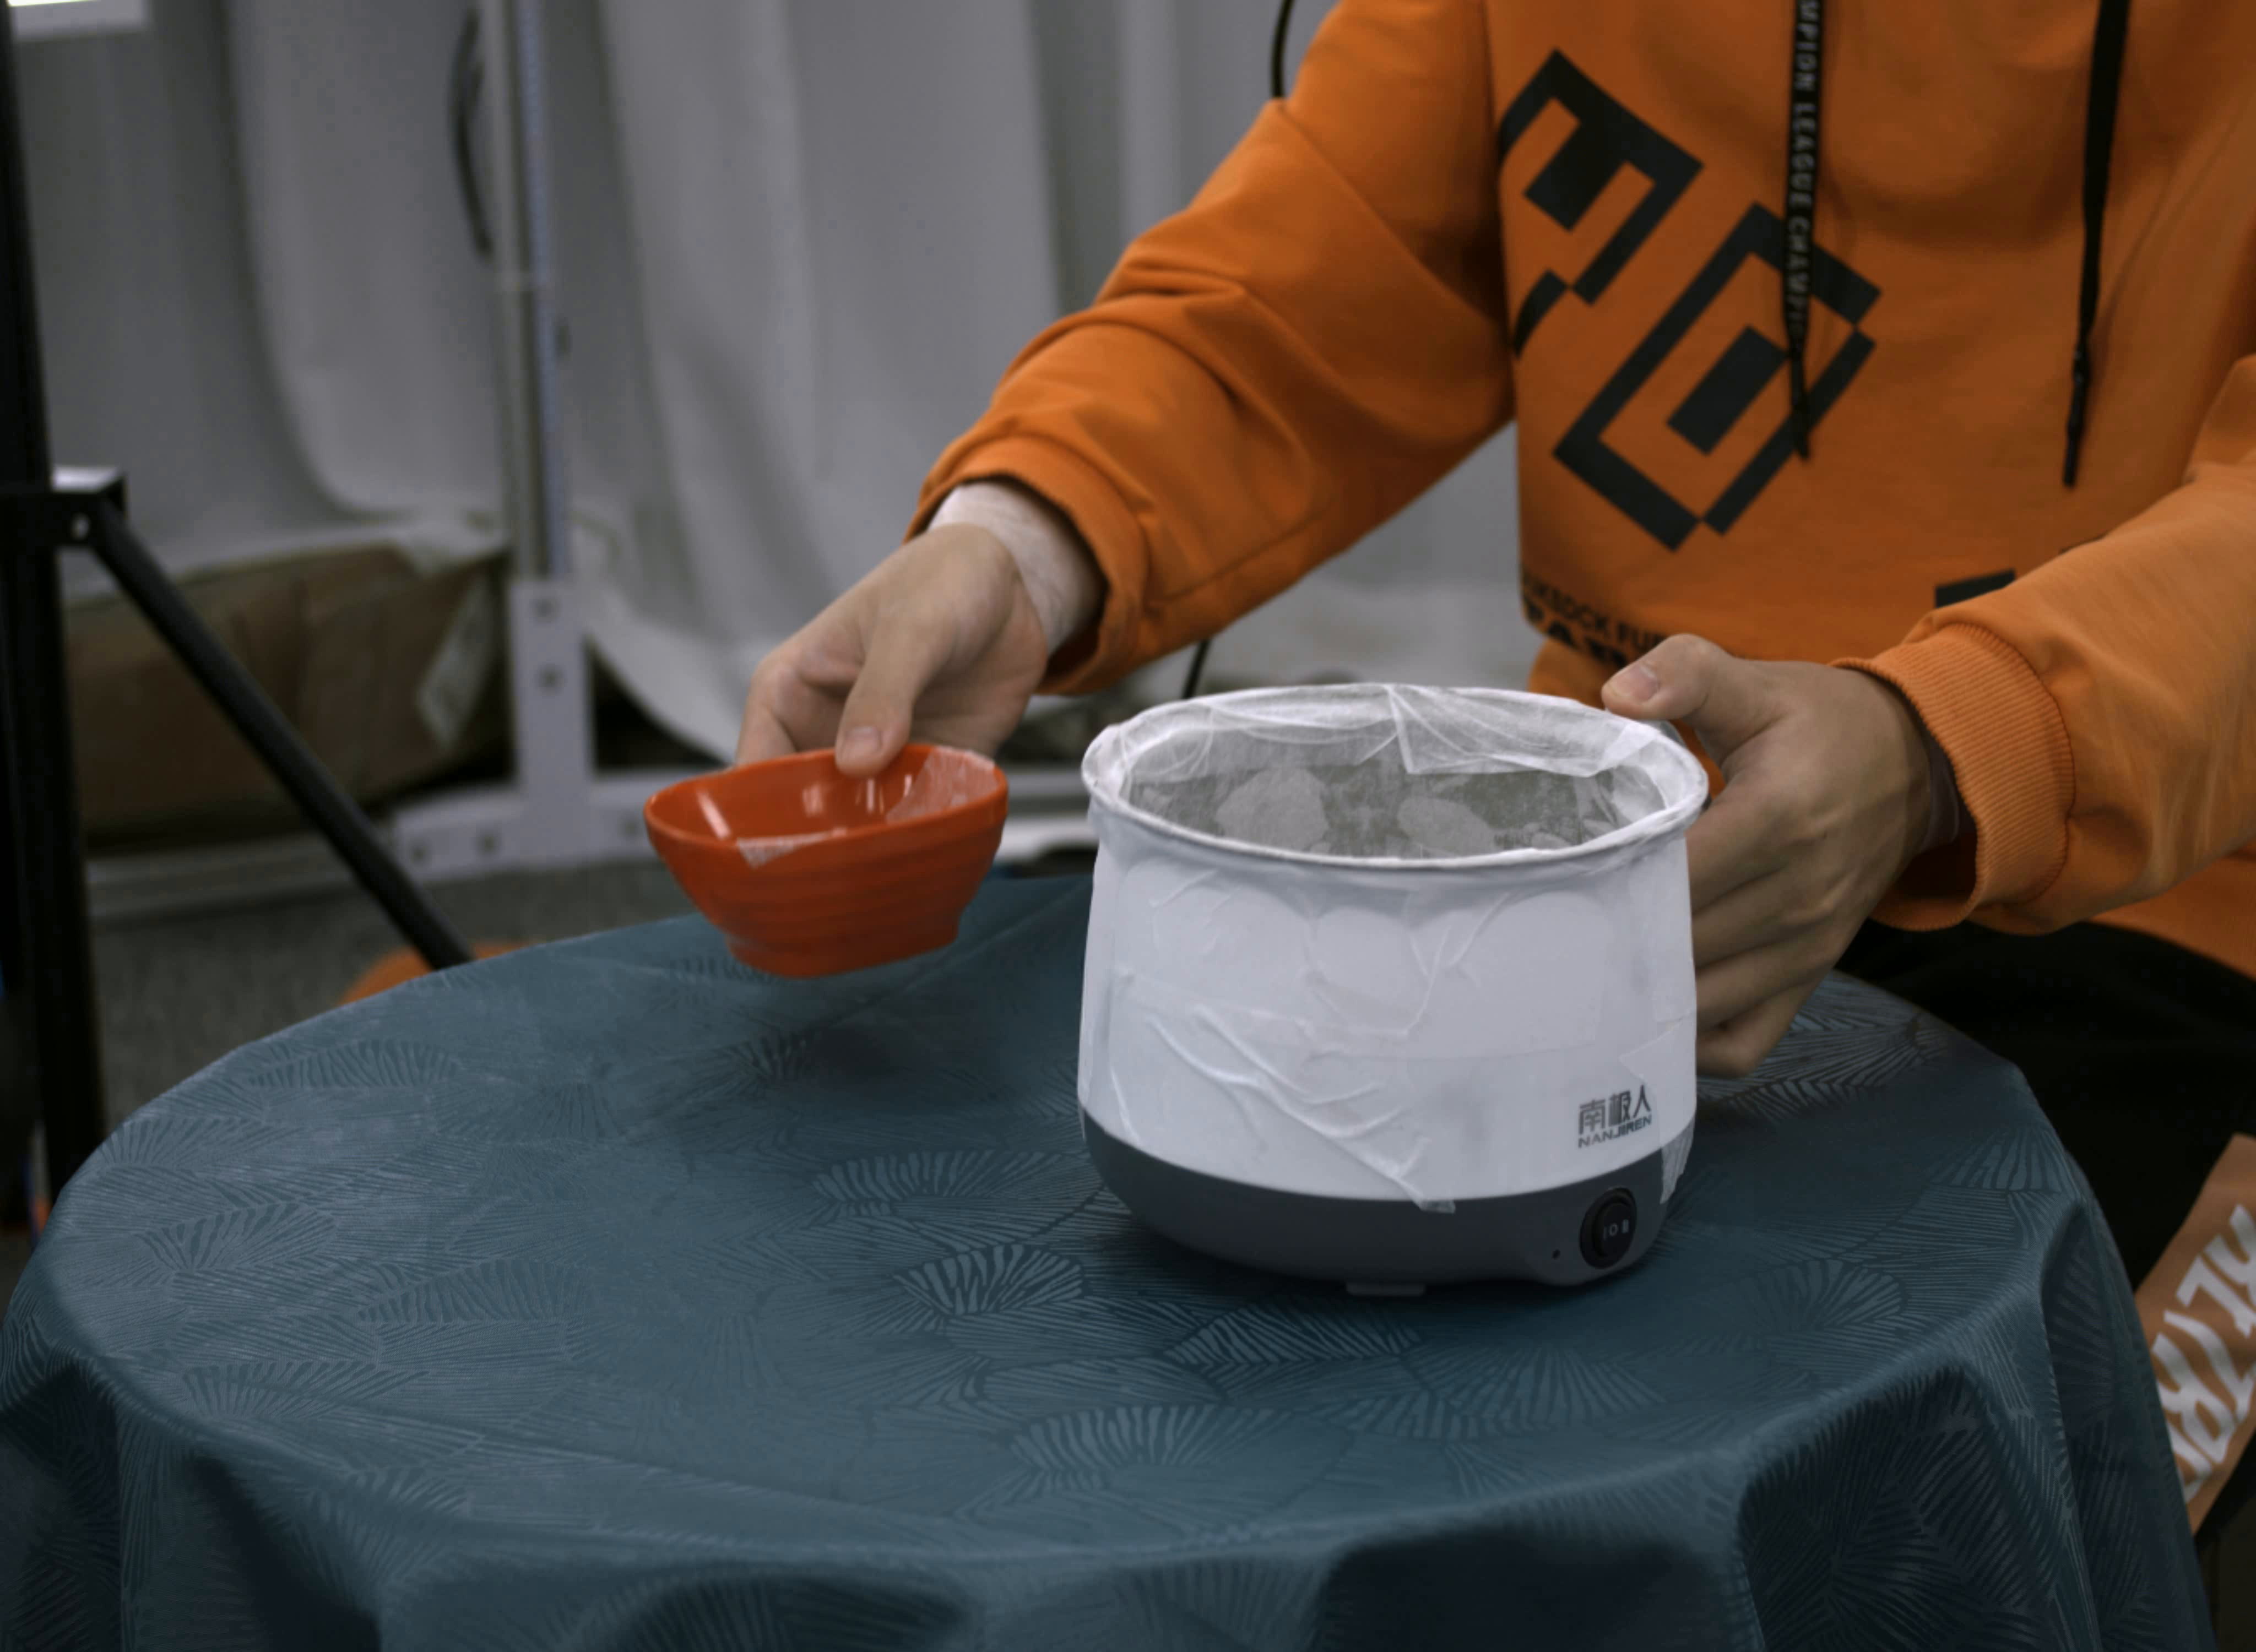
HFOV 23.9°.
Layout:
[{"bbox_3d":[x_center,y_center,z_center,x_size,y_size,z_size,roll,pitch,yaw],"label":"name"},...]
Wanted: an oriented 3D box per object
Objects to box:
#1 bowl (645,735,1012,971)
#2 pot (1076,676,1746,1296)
[{"bbox_3d":[-0.091,0.010,1.677,0.118,0.051,0.119,-8,14,0],"label":"bowl"},{"bbox_3d":[0.094,0.038,1.522,0.228,0.136,0.183,-15,23,-42],"label":"pot"}]
